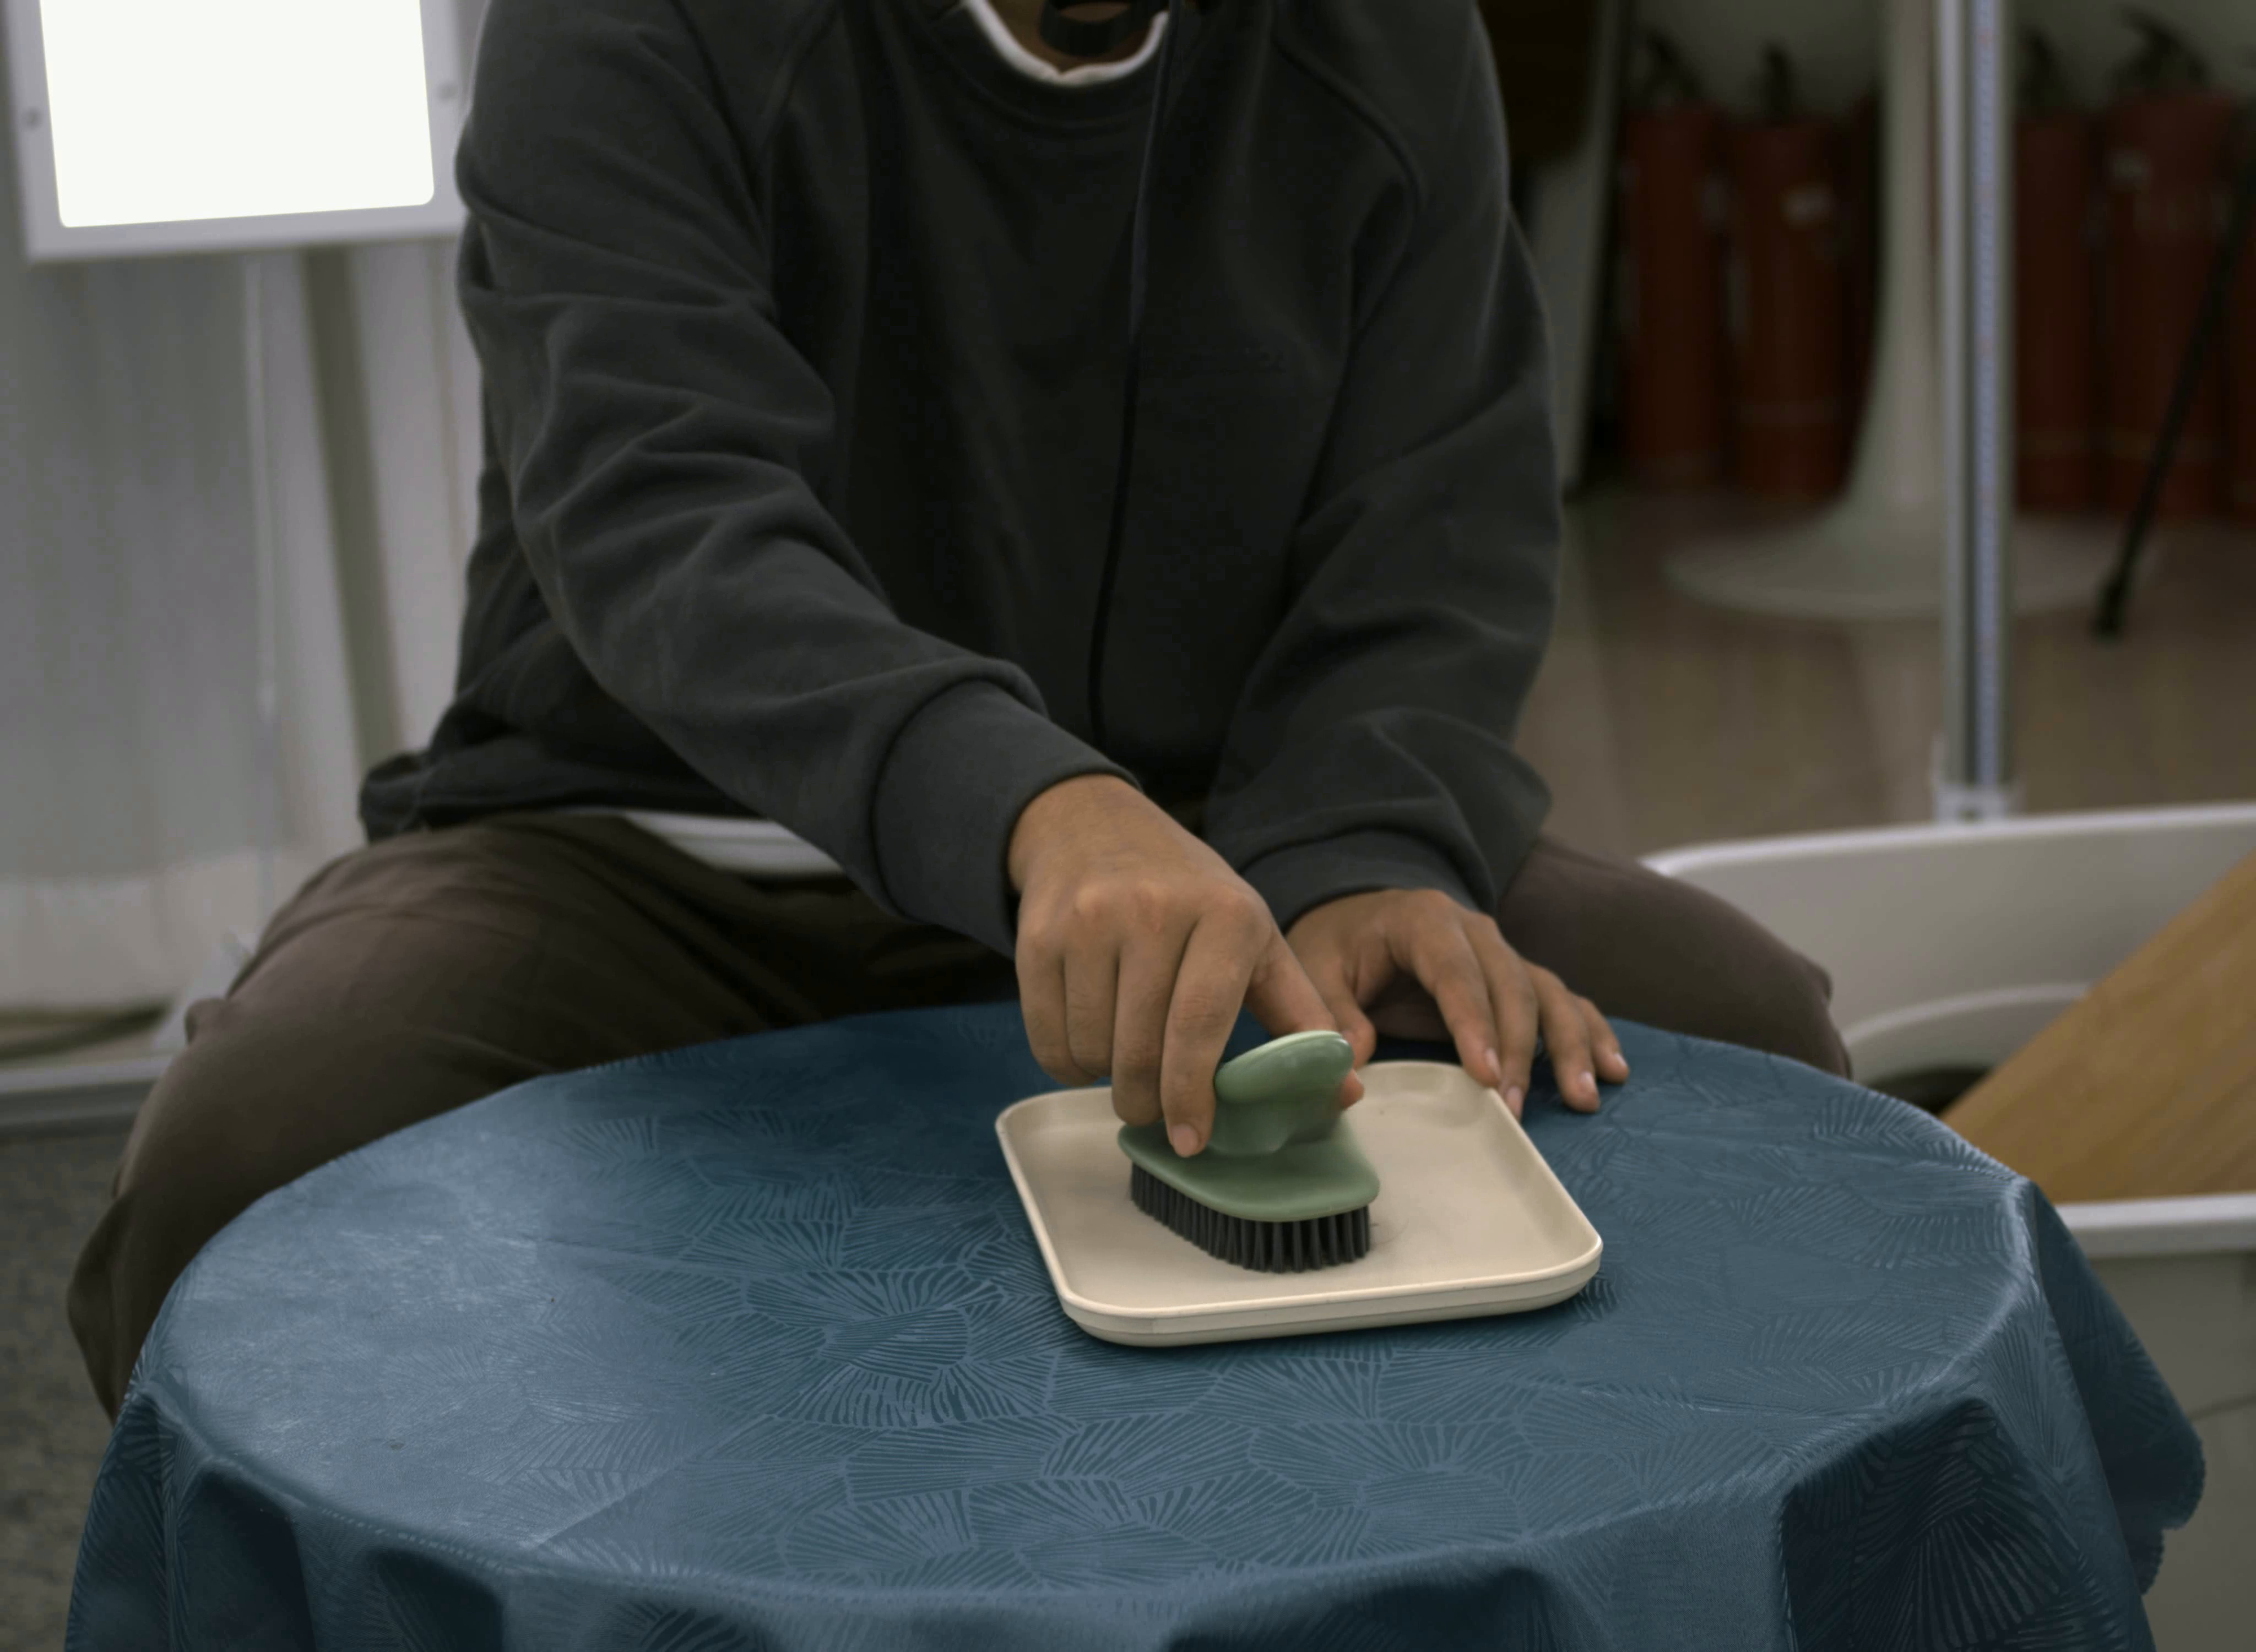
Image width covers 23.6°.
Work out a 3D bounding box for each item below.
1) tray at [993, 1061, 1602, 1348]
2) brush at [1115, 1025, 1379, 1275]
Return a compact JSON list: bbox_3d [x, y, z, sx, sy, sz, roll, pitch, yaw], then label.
[{"bbox_3d":[0.050,0.120,1.725,0.168,0.017,0.241,-5,14,-6],"label":"tray"},{"bbox_3d":[0.038,0.102,1.718,0.058,0.076,0.124,-9,1,-23],"label":"brush"}]
